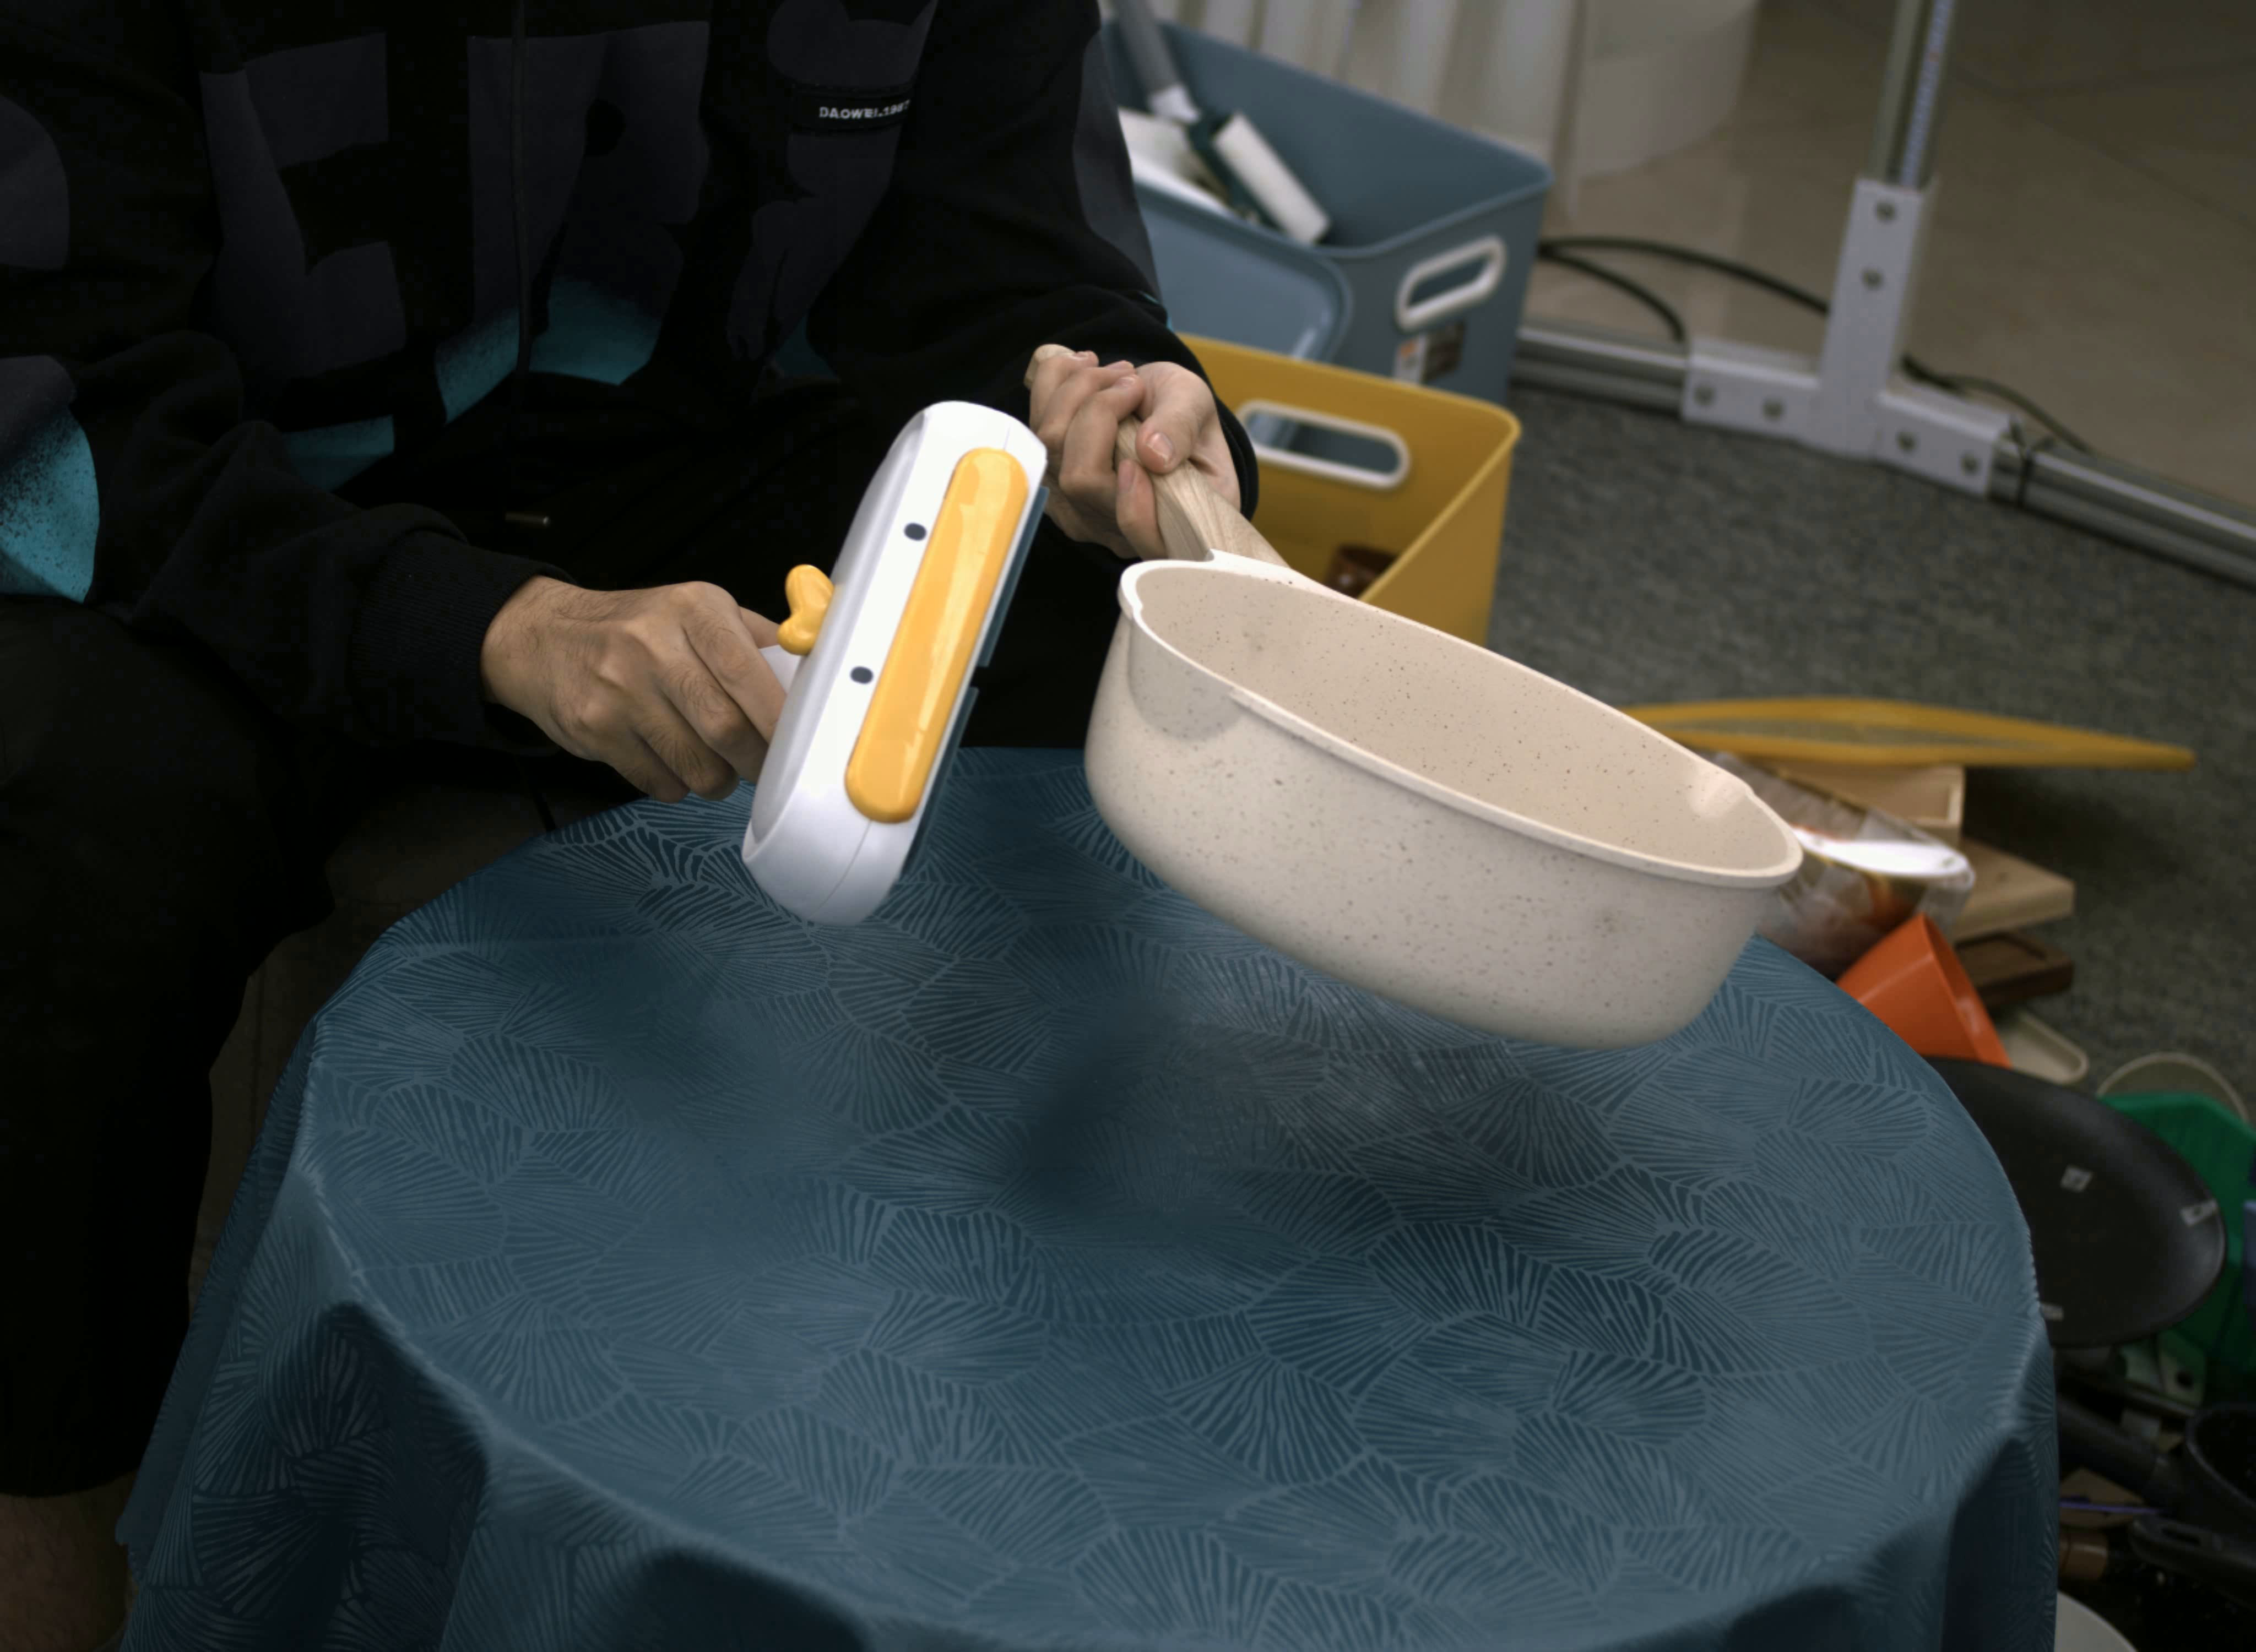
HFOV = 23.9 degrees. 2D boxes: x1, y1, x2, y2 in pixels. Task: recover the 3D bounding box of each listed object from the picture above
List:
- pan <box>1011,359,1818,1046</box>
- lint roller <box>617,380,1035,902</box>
[{"bbox_3d":[0.061,-0.046,1.887,0.261,0.102,0.439,10,18,-35],"label":"pan"},{"bbox_3d":[-0.113,-0.049,1.856,0.073,0.192,0.194,24,61,-22],"label":"lint roller"}]
